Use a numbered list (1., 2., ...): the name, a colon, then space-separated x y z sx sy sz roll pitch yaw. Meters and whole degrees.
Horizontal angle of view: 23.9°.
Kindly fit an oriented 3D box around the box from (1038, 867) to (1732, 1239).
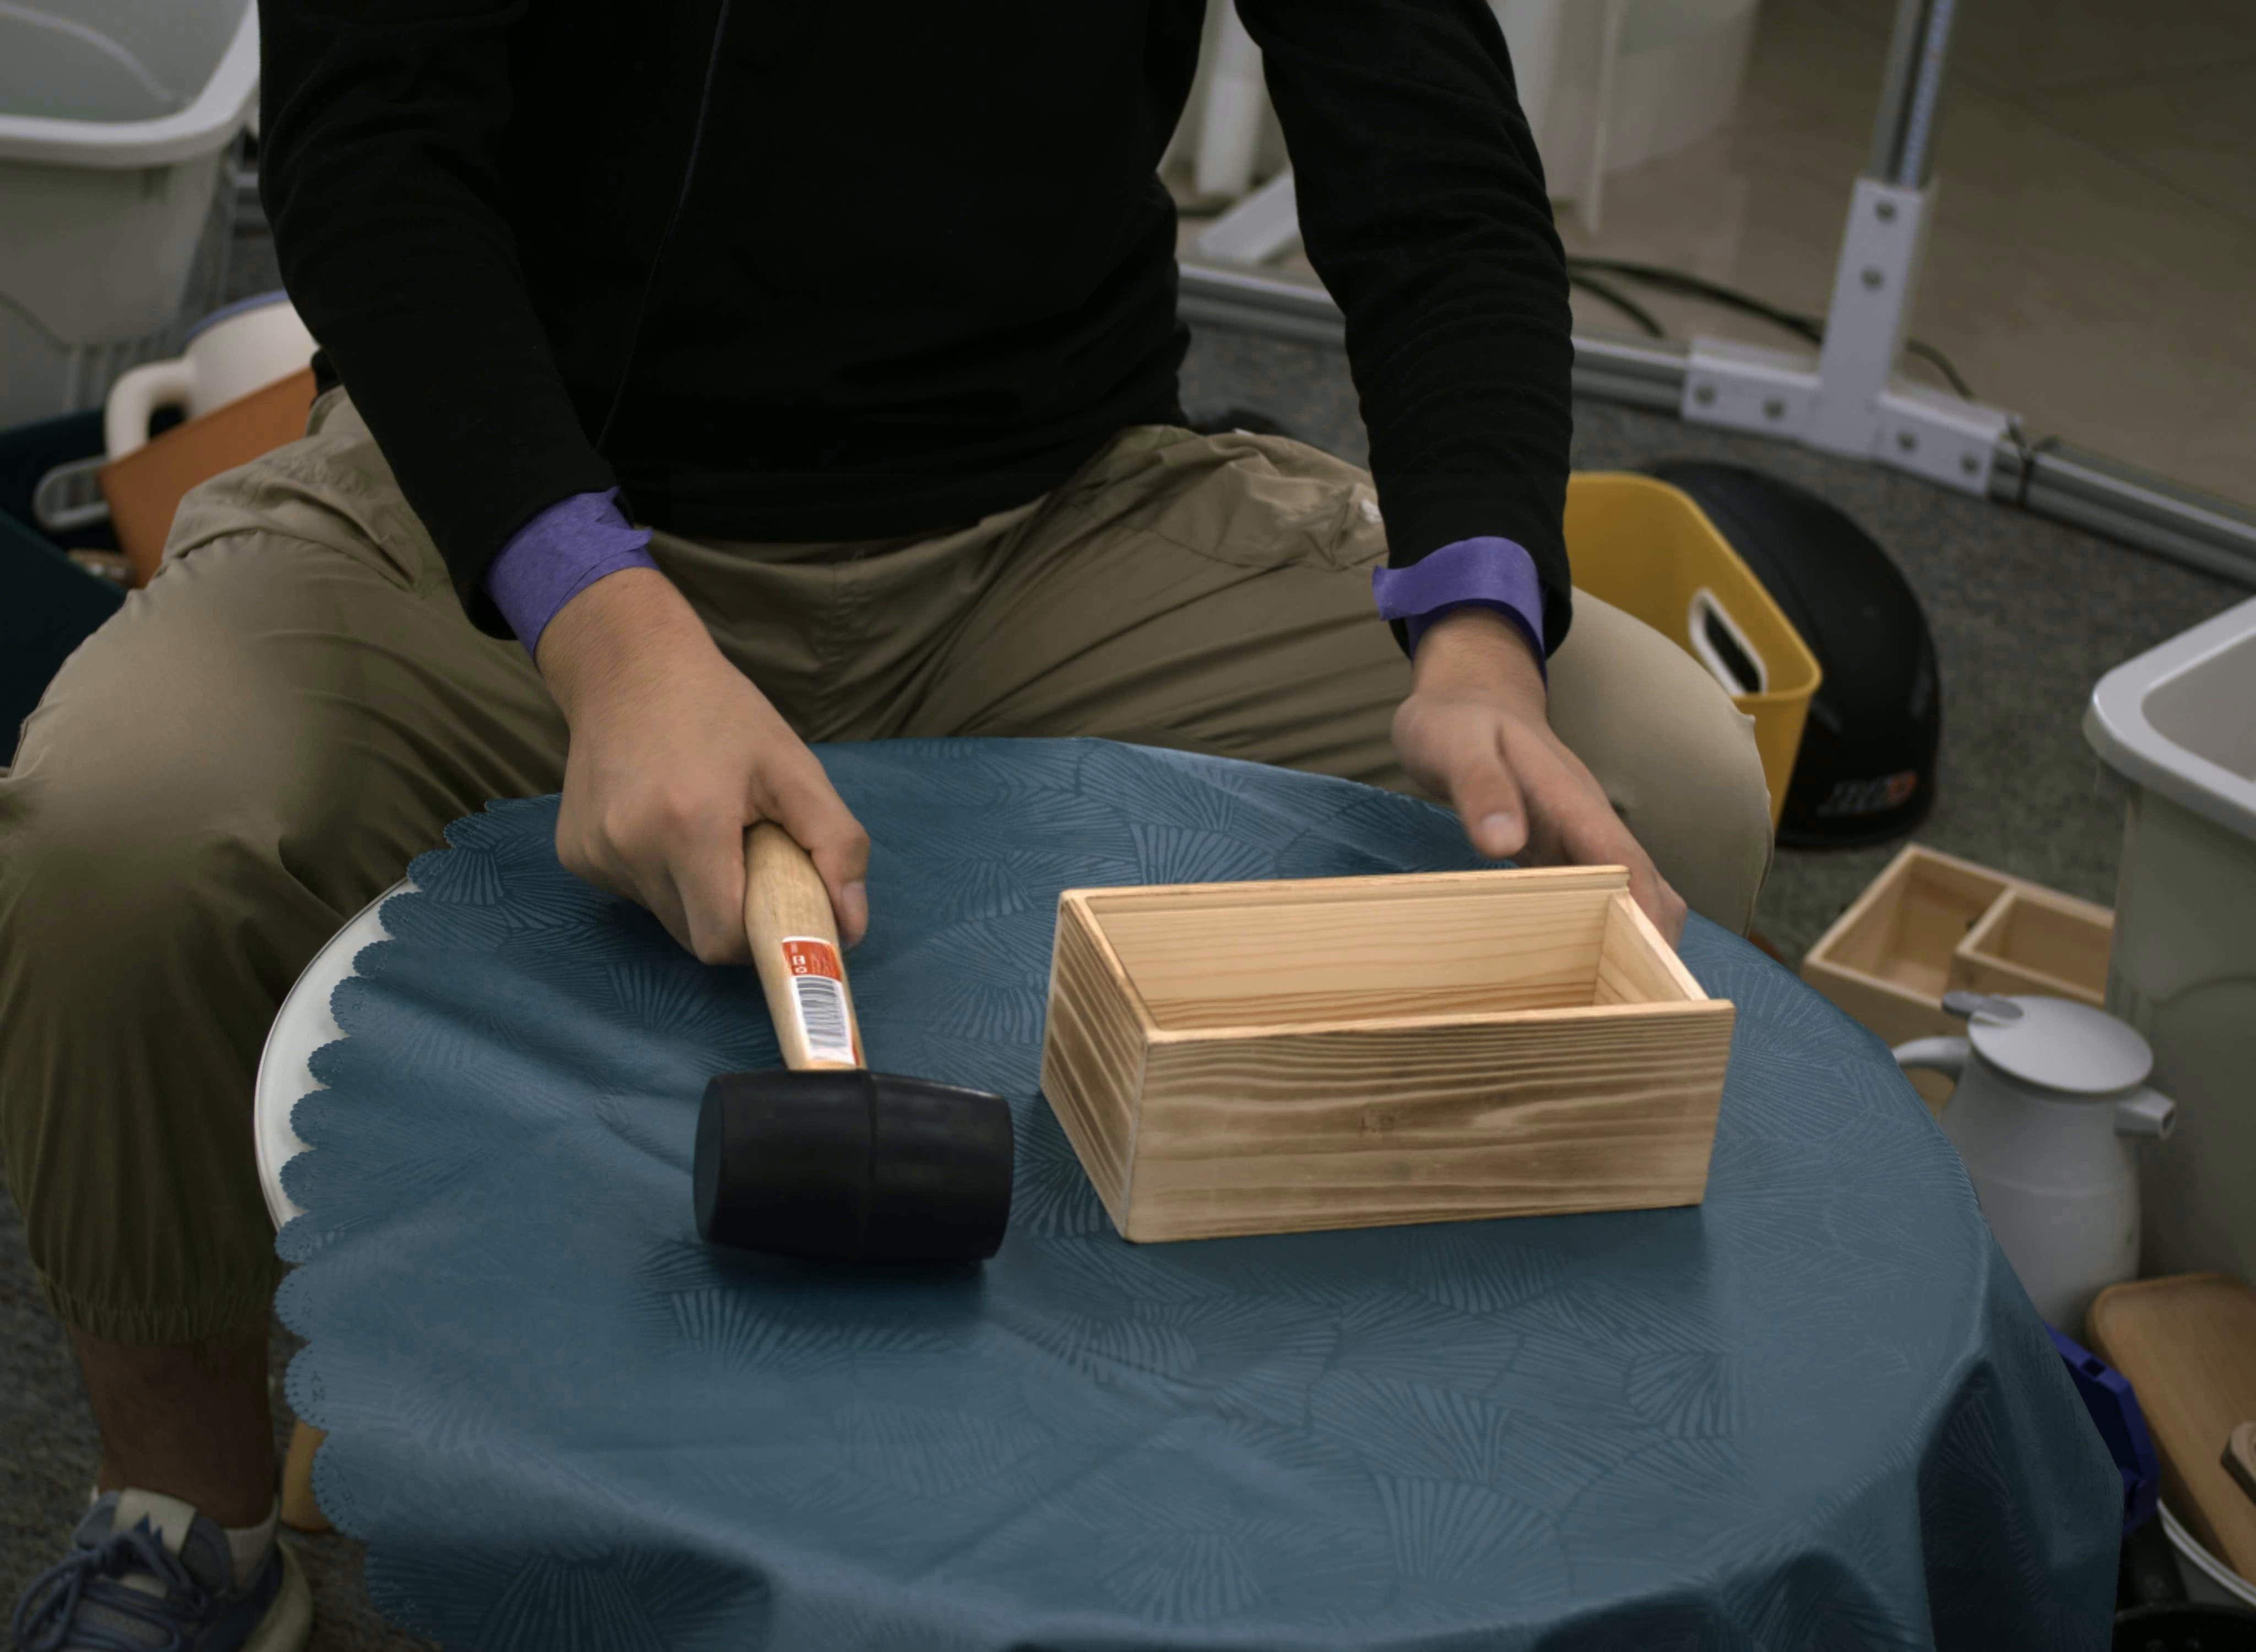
1. box: 0.086 0.076 1.830 0.210 0.080 0.108 -2 27 -17

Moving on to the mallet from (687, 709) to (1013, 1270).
1. mallet: -0.113 0.040 1.855 0.101 0.064 0.342 9 29 -15
